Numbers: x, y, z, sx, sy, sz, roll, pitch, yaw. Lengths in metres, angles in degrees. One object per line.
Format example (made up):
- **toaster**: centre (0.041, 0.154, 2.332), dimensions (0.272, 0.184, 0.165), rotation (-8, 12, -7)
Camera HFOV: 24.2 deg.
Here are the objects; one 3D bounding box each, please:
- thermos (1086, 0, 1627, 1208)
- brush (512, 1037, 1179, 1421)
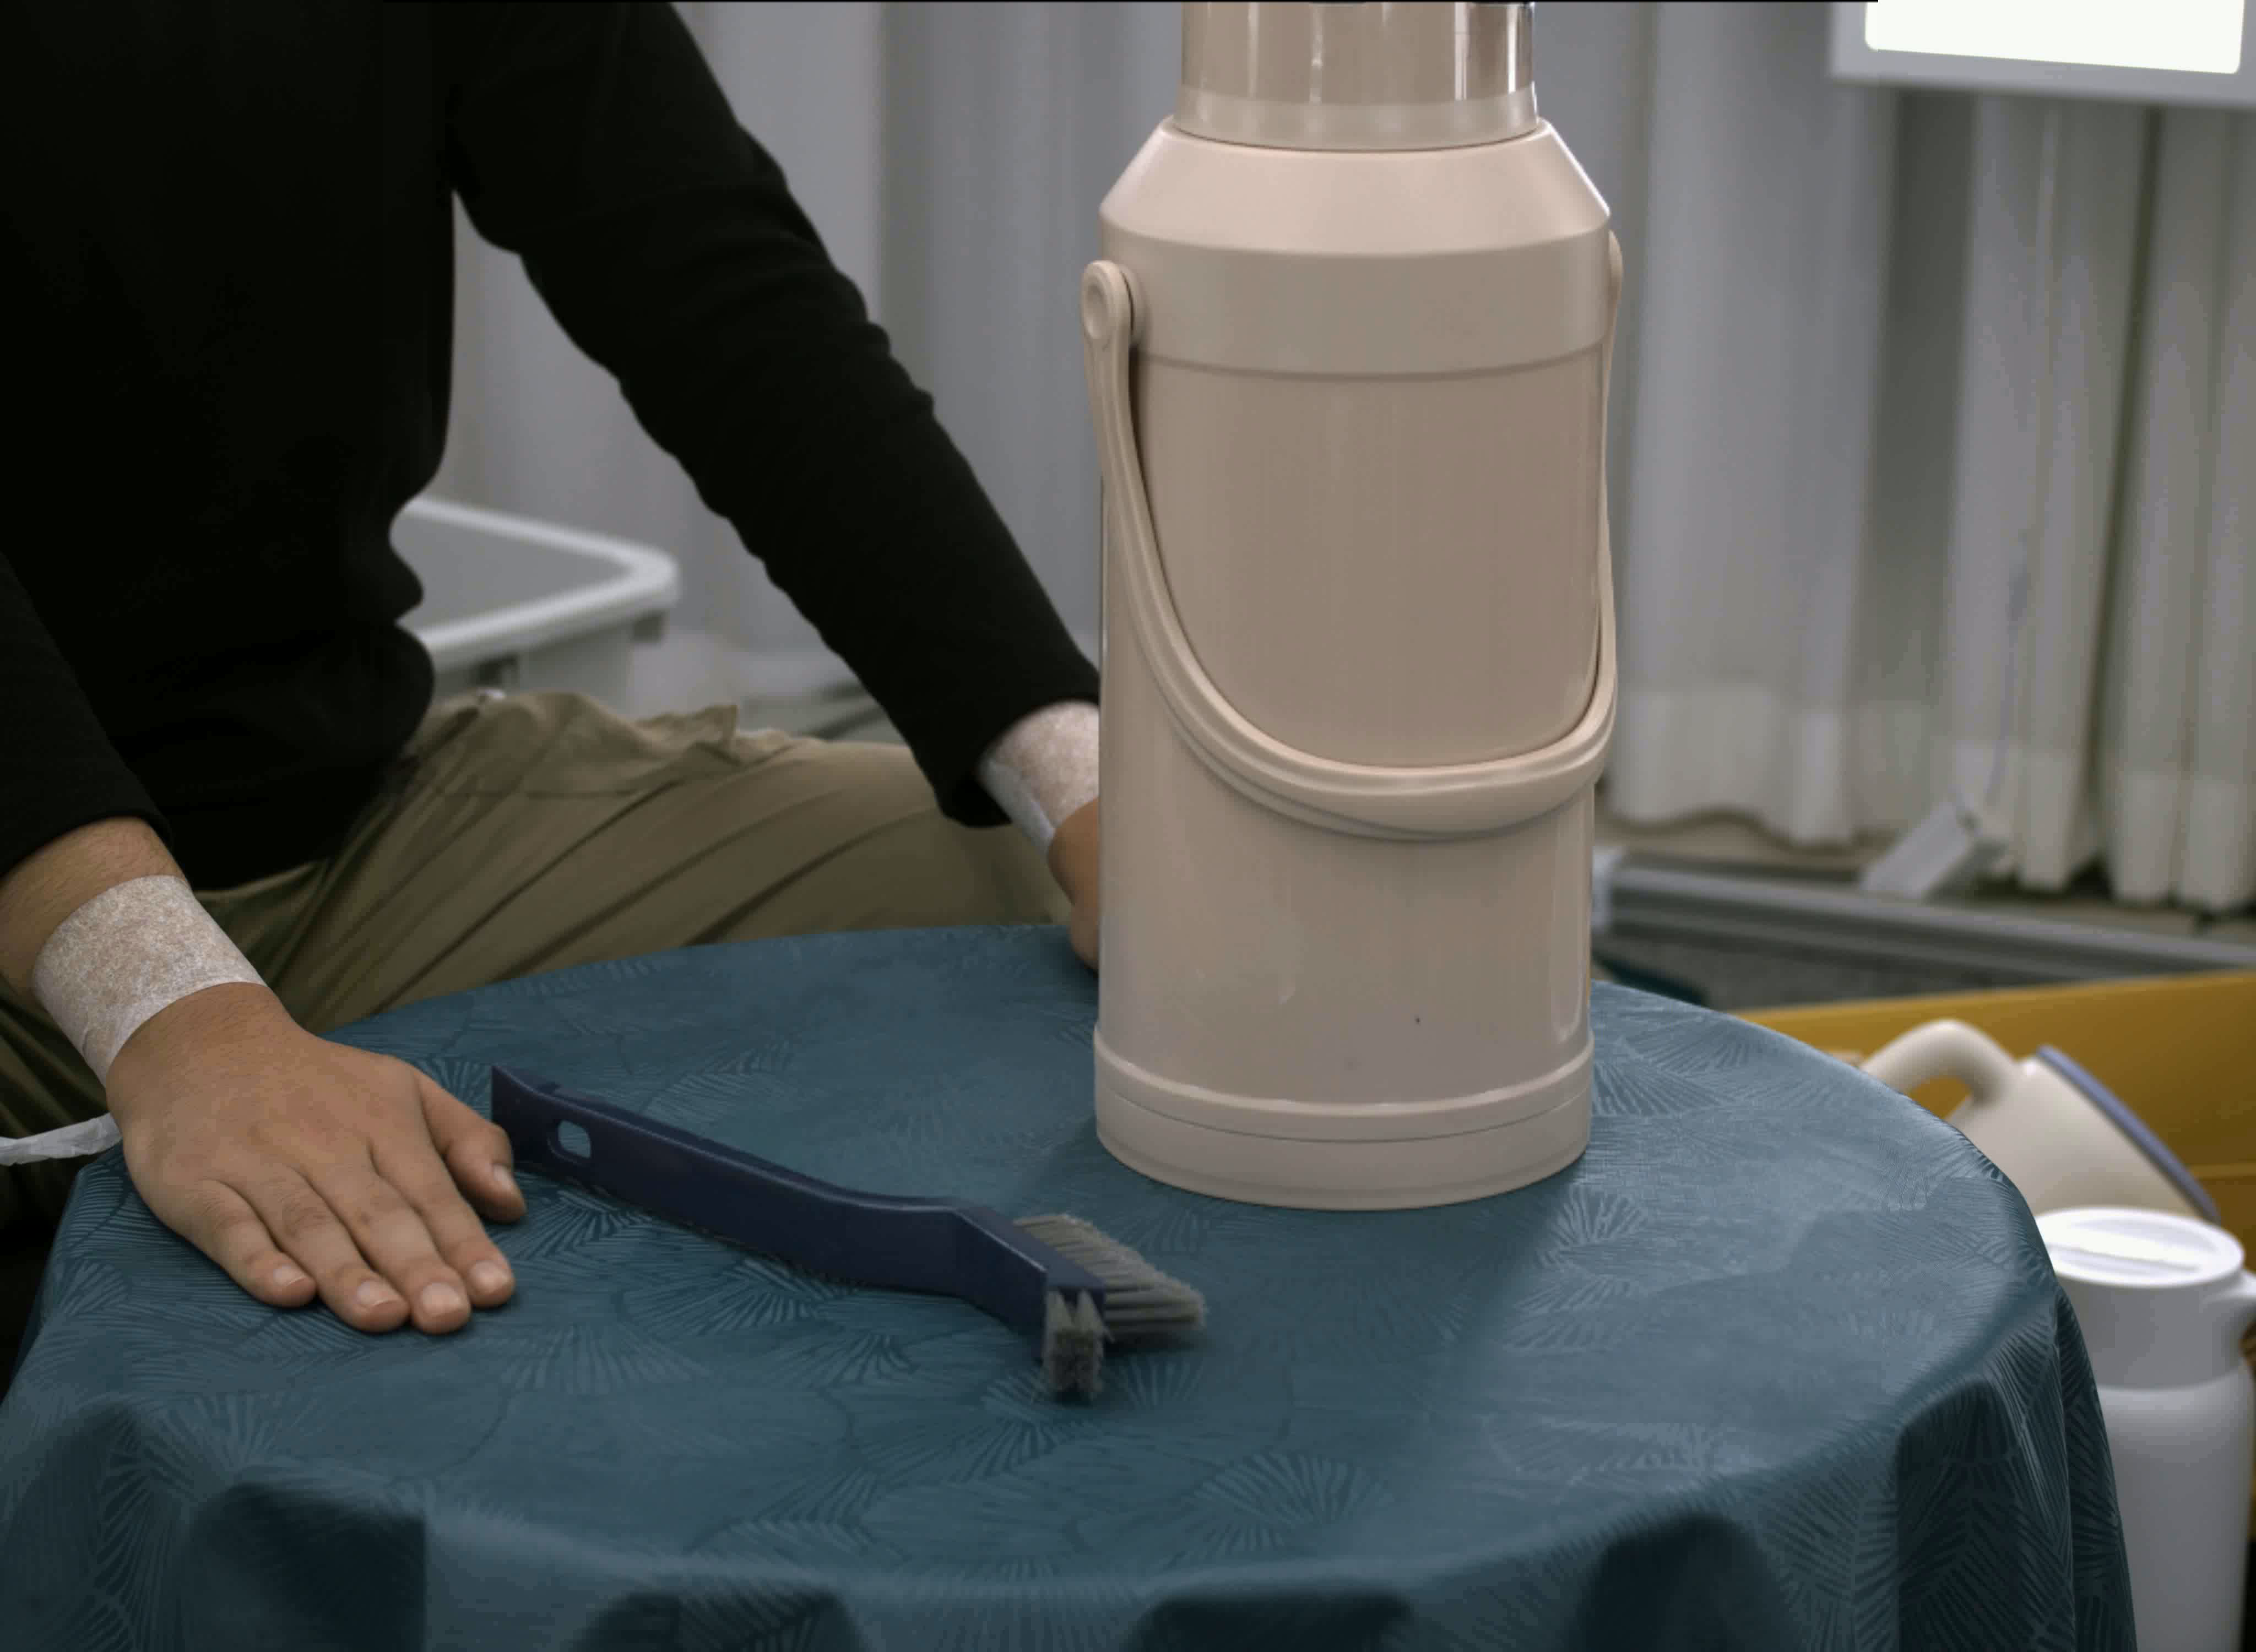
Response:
- **thermos**: centre (0.066, -0.099, 1.638), dimensions (0.176, 0.410, 0.204), rotation (-9, 19, -25)
- **brush**: centre (-0.101, 0.115, 1.547), dimensions (0.269, 0.034, 0.096), rotation (14, 20, 34)
